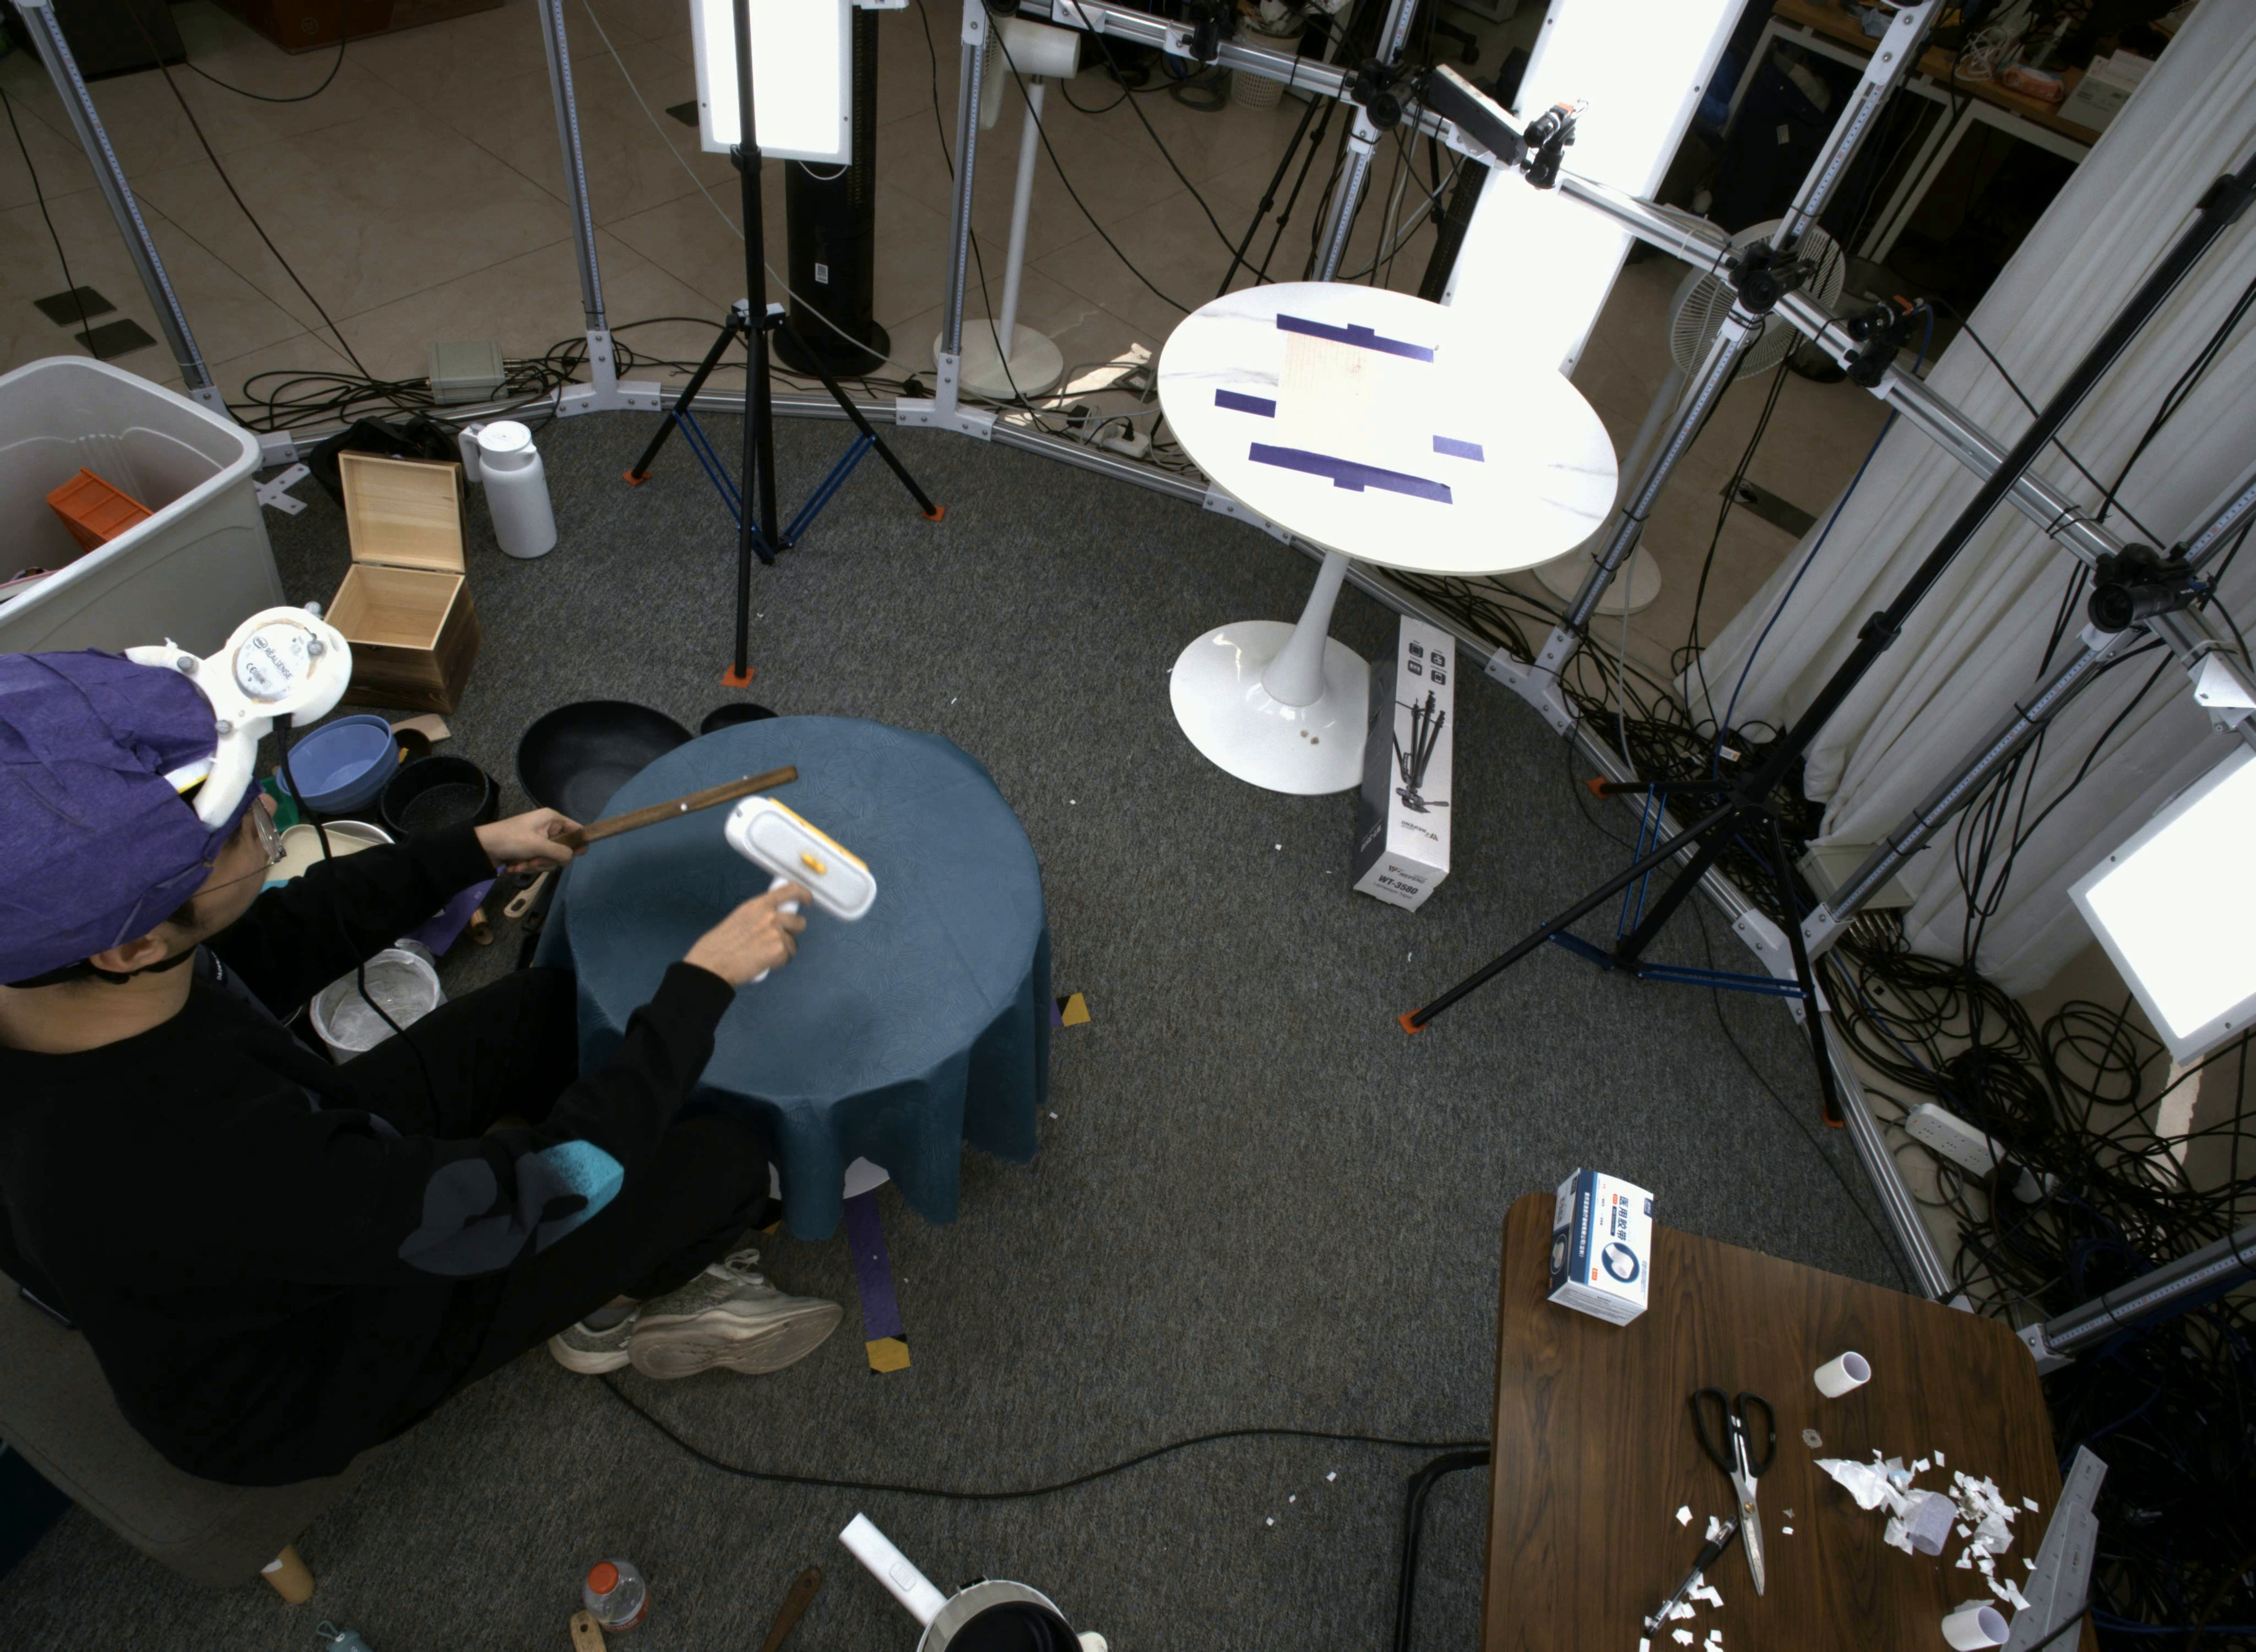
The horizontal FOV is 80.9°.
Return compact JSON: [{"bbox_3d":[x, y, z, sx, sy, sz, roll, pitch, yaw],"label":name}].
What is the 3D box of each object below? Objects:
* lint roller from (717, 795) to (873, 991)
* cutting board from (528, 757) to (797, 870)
[{"bbox_3d":[-0.387,0.088,1.430,0.200,0.071,0.192,40,65,-39],"label":"lint roller"},{"bbox_3d":[-0.568,-0.017,1.535,0.352,0.197,0.023,-19,95,-16],"label":"cutting board"}]
